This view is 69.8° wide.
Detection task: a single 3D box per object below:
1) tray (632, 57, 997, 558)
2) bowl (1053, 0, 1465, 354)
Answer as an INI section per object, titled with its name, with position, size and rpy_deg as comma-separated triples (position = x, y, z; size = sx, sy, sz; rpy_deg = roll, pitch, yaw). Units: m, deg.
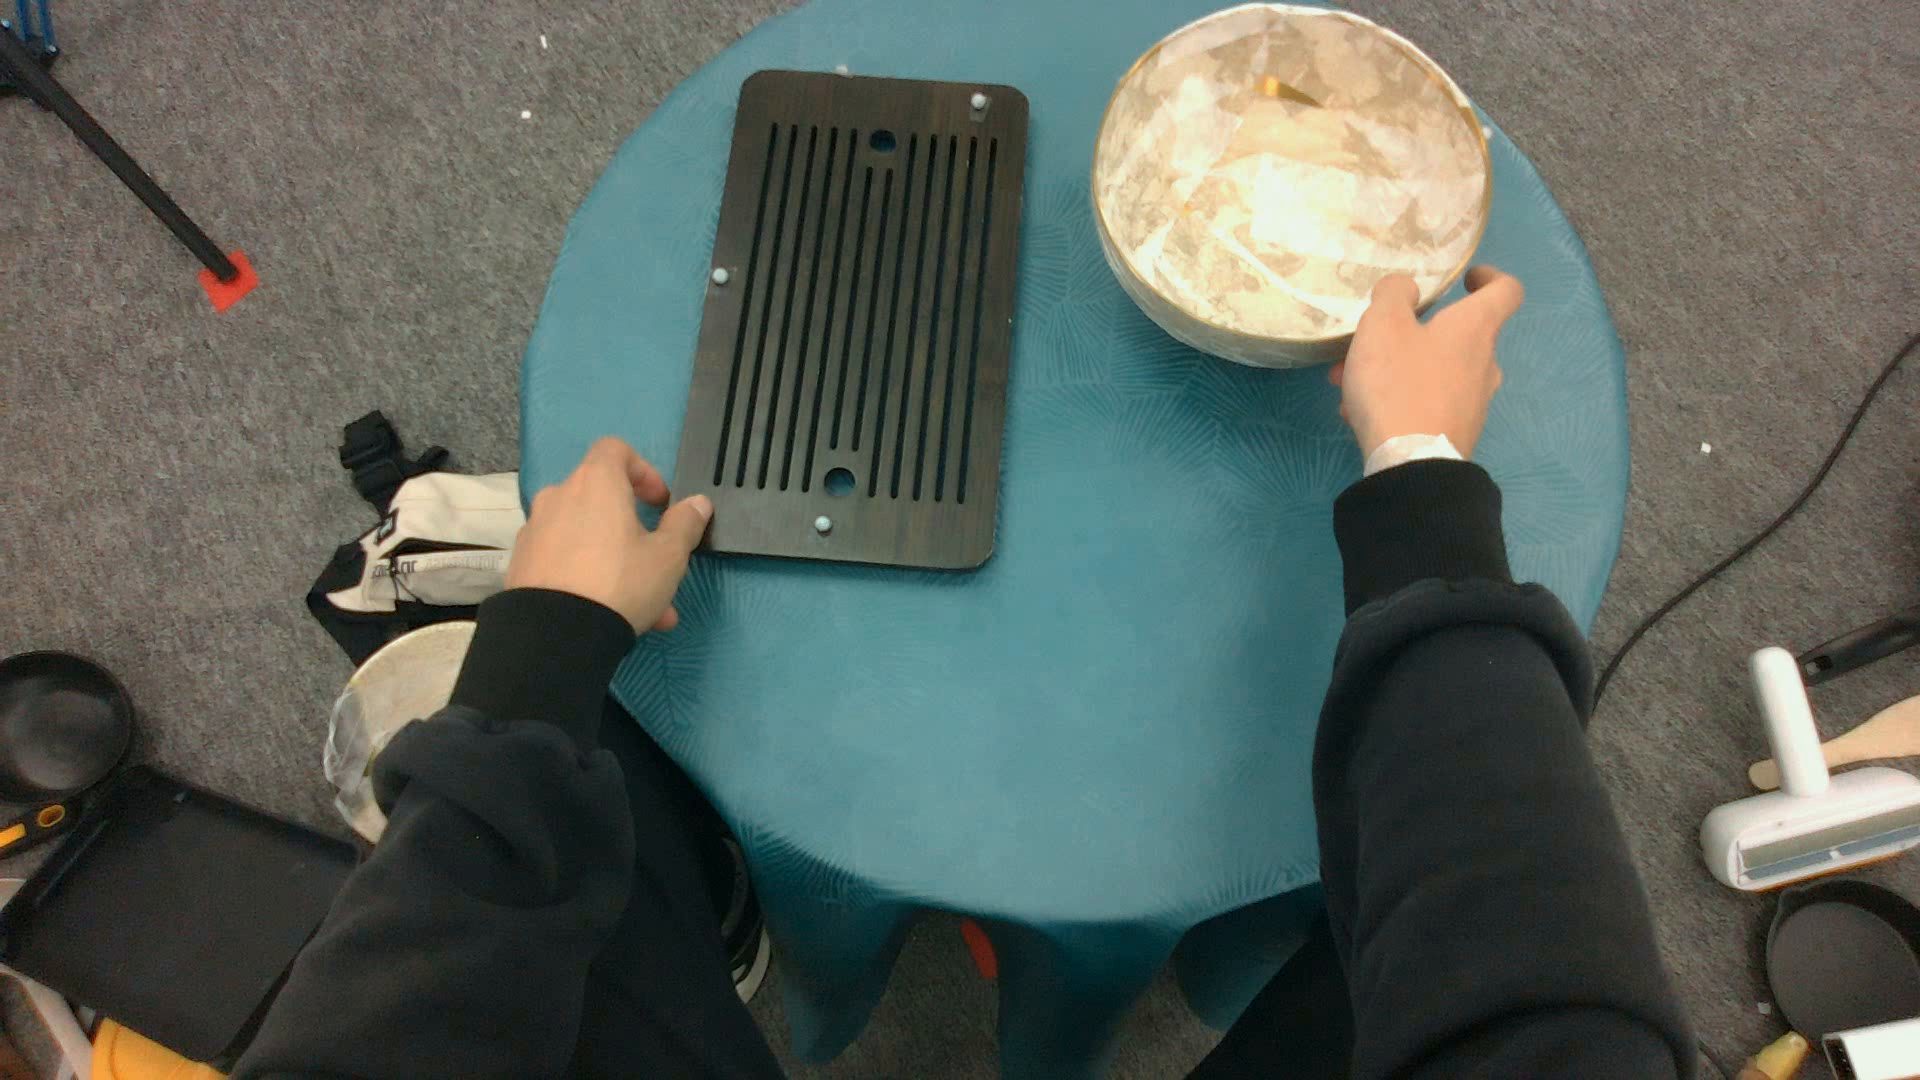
[tray]
position = -0.073, -0.136, 0.759
size = 0.170, 0.018, 0.307
rpy_deg = 4, 68, 1
[bowl]
position = 0.149, -0.178, 0.738
size = 0.215, 0.094, 0.215
rpy_deg = 0, 69, -1
